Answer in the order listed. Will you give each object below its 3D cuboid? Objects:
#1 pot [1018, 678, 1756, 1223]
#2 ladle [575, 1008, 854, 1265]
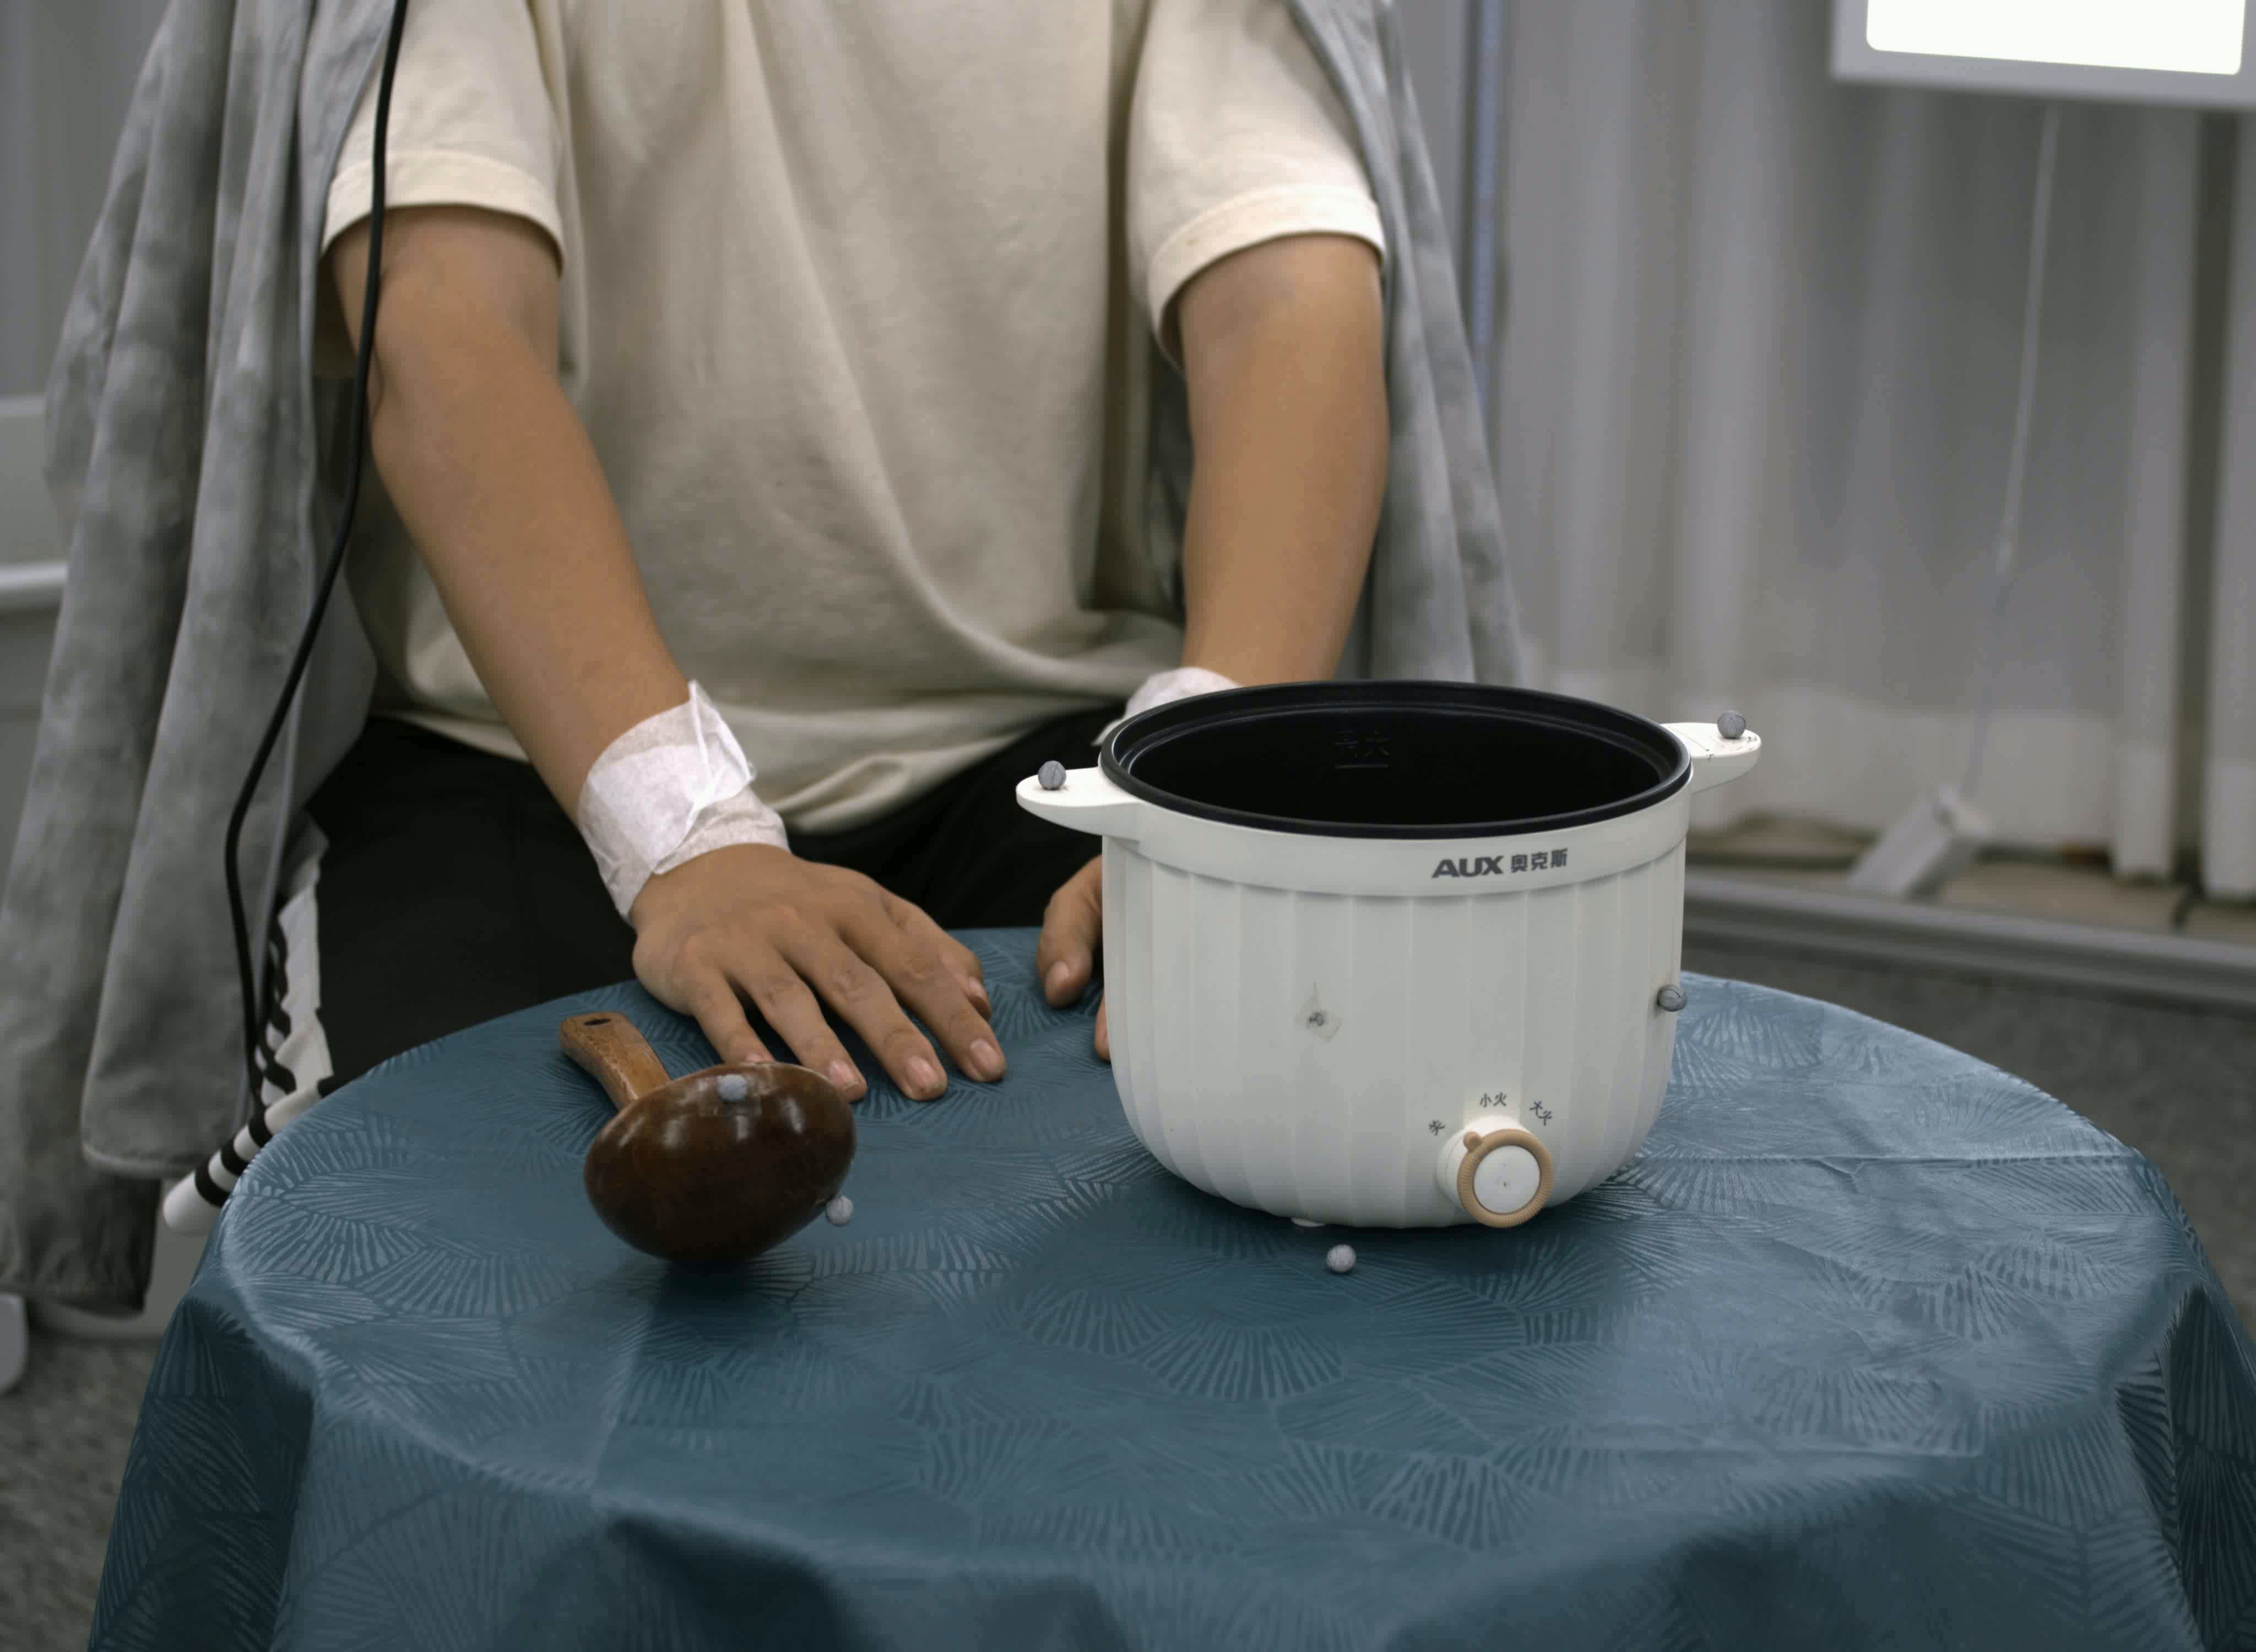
[{"bbox_3d":[0.085,0.041,1.625,0.241,0.144,0.188,-6,14,-18],"label":"pot"},{"bbox_3d":[-0.143,0.071,1.626,0.082,0.077,0.271,-6,17,-12],"label":"ladle"}]
